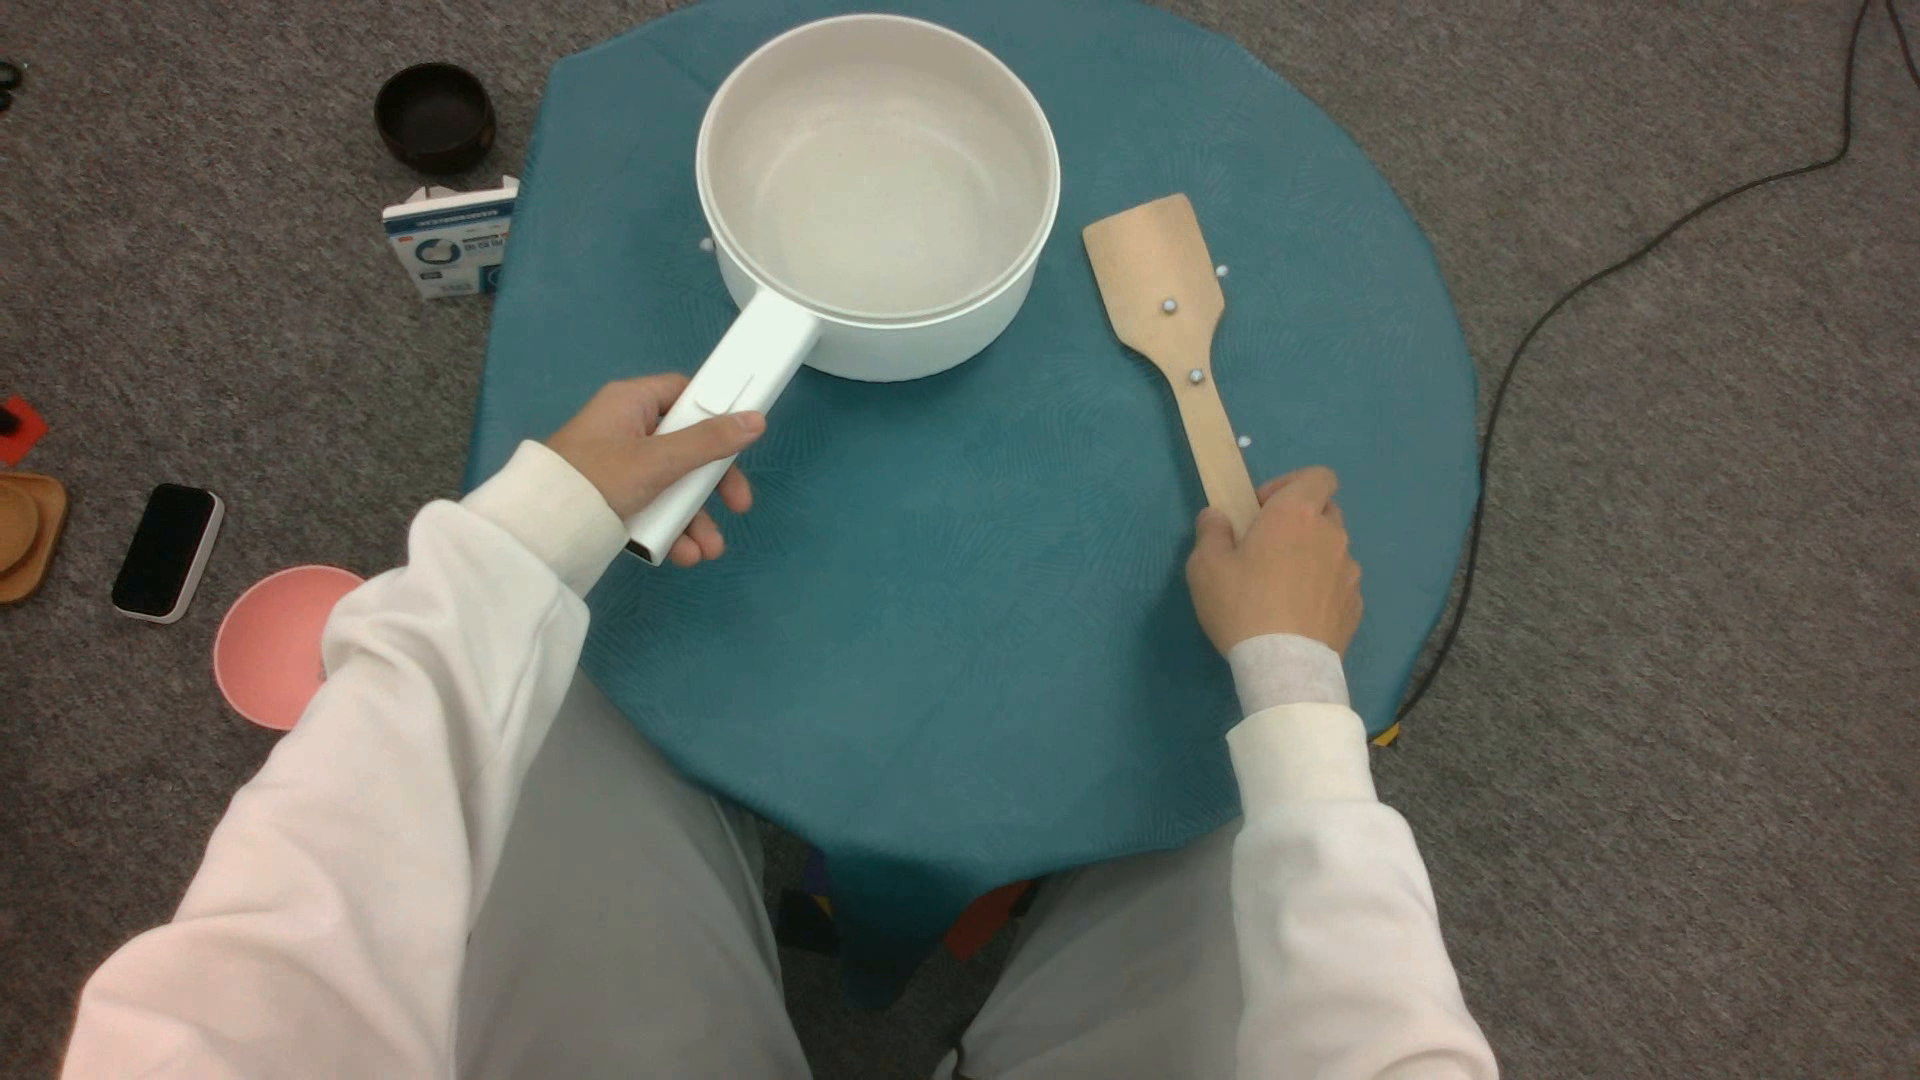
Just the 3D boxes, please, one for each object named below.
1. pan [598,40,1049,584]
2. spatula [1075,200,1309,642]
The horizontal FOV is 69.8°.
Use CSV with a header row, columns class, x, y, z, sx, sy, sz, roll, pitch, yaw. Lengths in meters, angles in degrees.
class,x,y,z,sx,sy,sz,roll,pitch,yaw
pan,-0.087,-0.122,0.796,0.201,0.102,0.356,27,71,6
spatula,0.145,-0.075,0.823,0.072,0.010,0.294,-22,67,12
